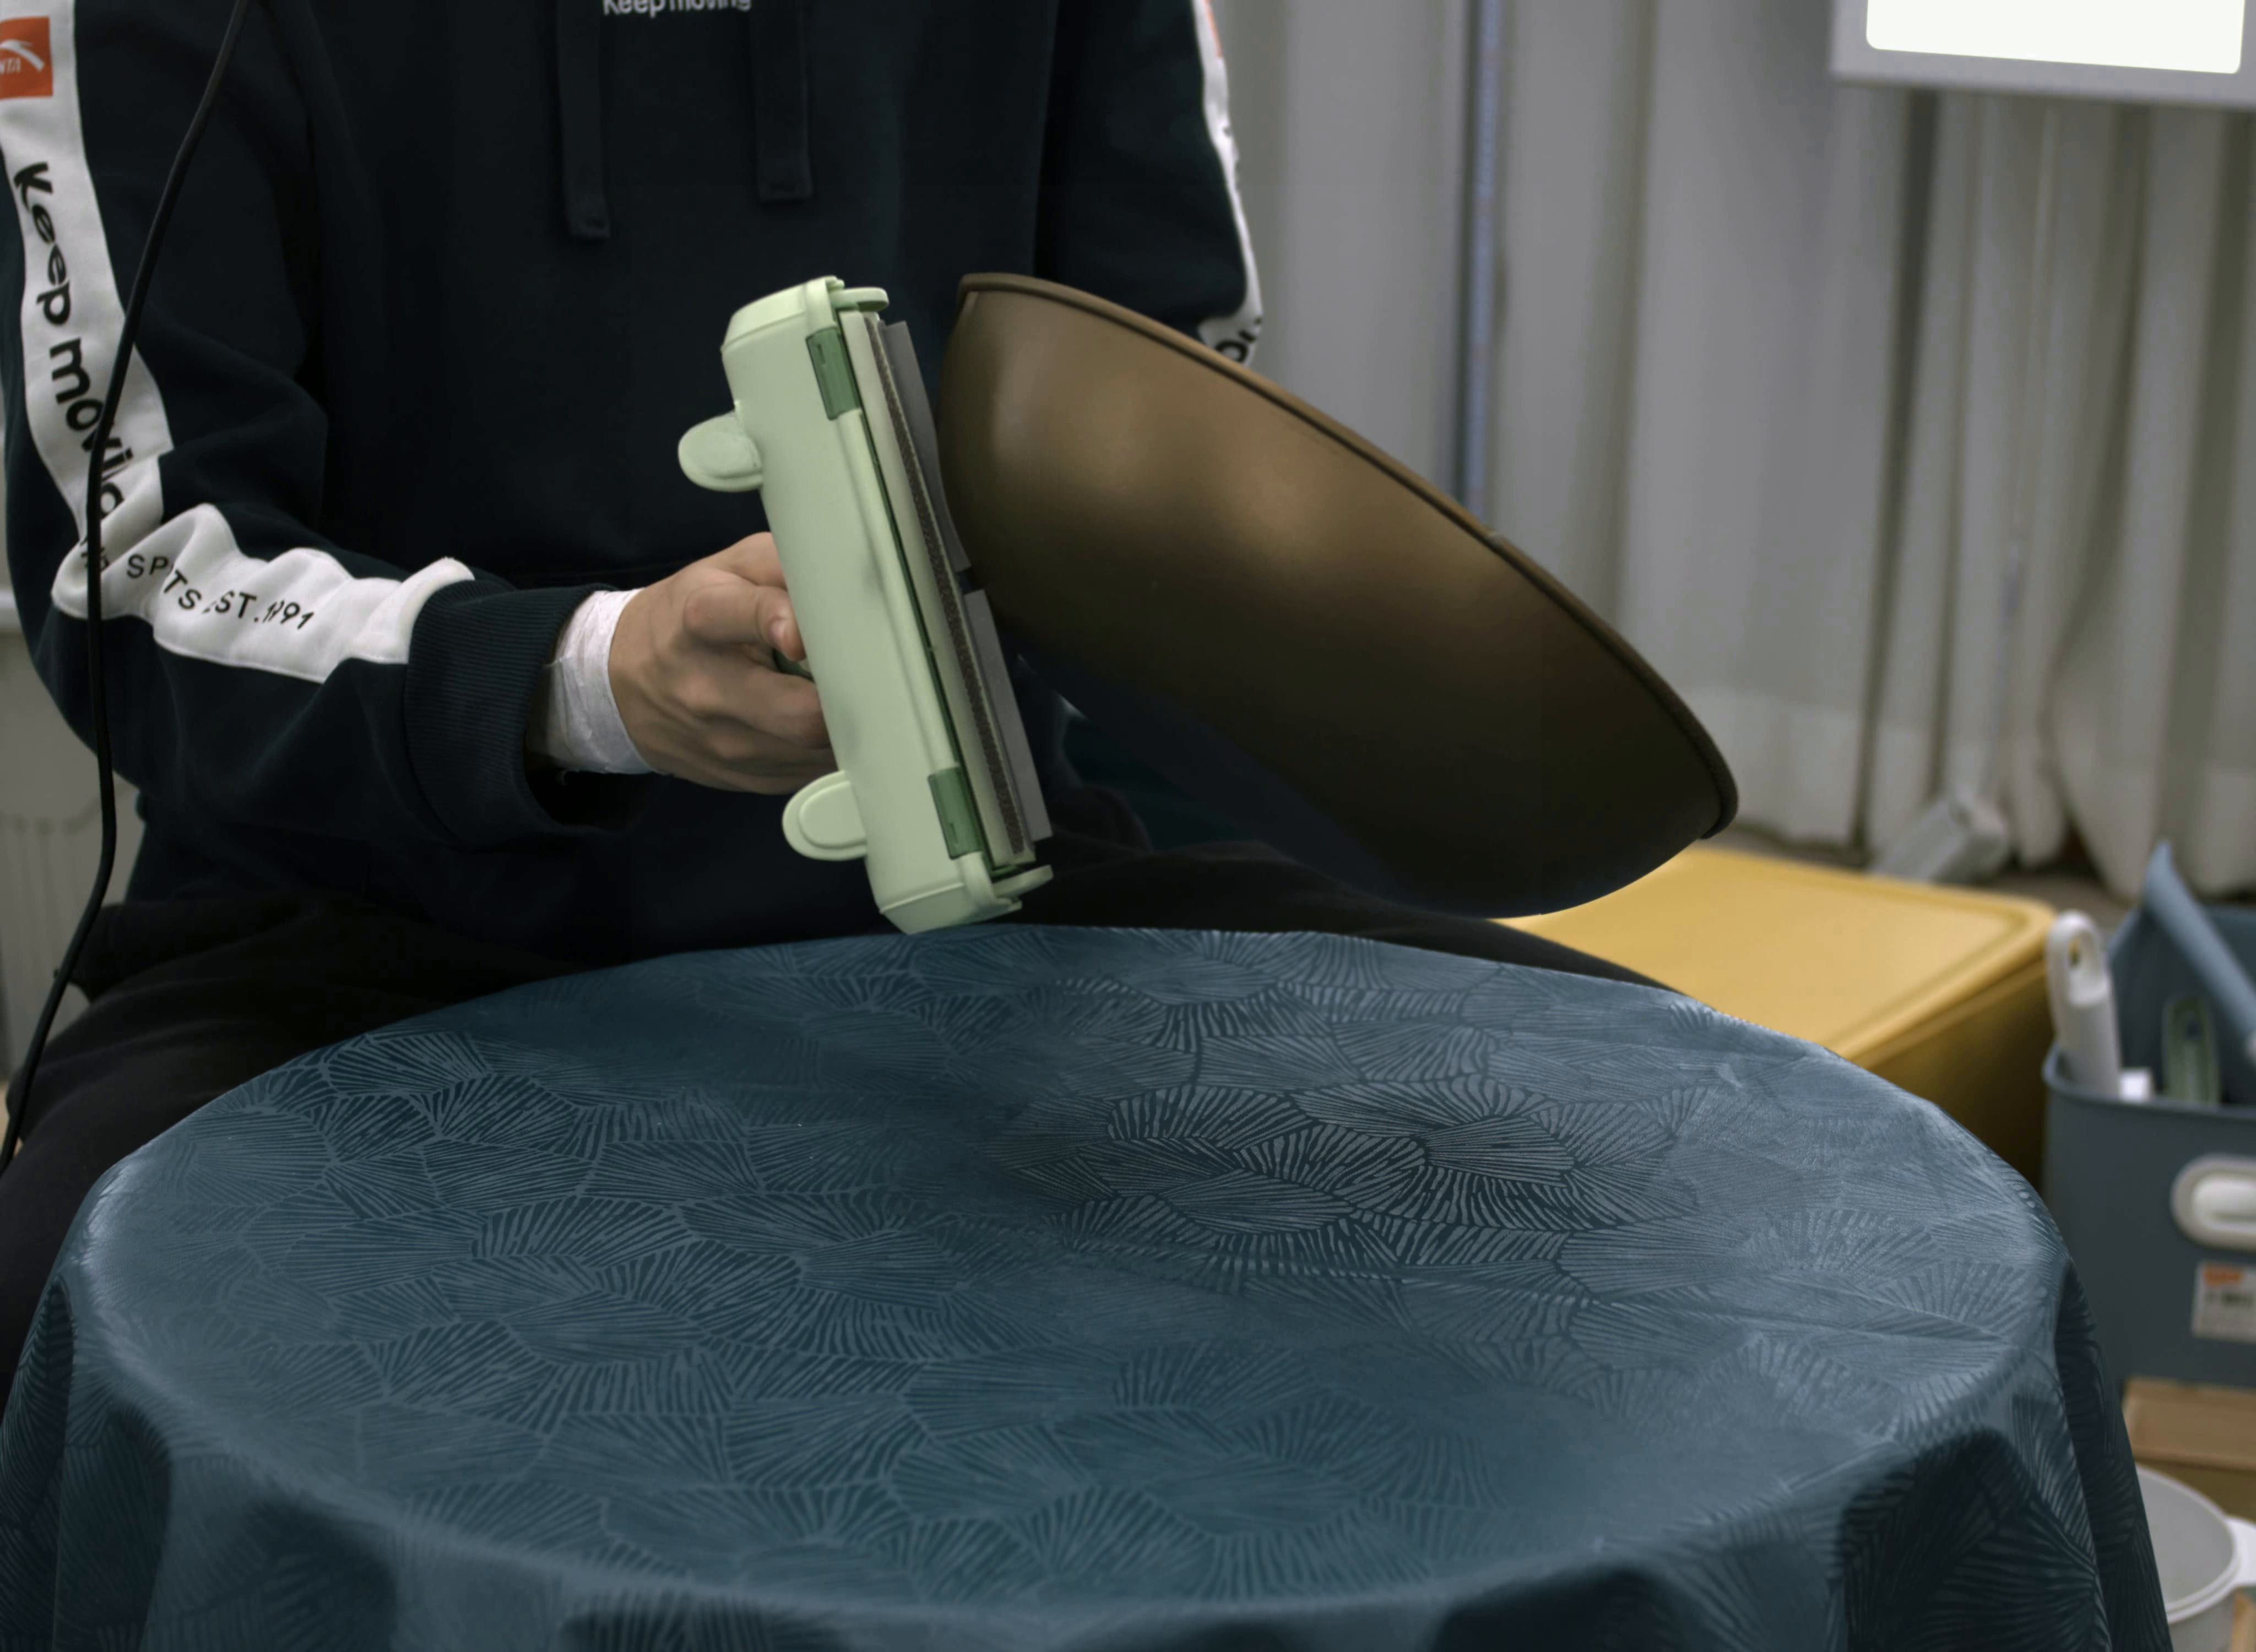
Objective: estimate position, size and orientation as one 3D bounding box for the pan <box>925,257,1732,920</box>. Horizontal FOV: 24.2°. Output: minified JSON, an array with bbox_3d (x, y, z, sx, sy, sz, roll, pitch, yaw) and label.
[{"bbox_3d":[0.024,-0.051,1.673,0.289,0.087,0.461,36,-9,-9],"label":"pan"}]

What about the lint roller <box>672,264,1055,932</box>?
[{"bbox_3d":[-0.101,-0.055,1.614,0.082,0.199,0.182,-15,-4,-27],"label":"lint roller"}]
